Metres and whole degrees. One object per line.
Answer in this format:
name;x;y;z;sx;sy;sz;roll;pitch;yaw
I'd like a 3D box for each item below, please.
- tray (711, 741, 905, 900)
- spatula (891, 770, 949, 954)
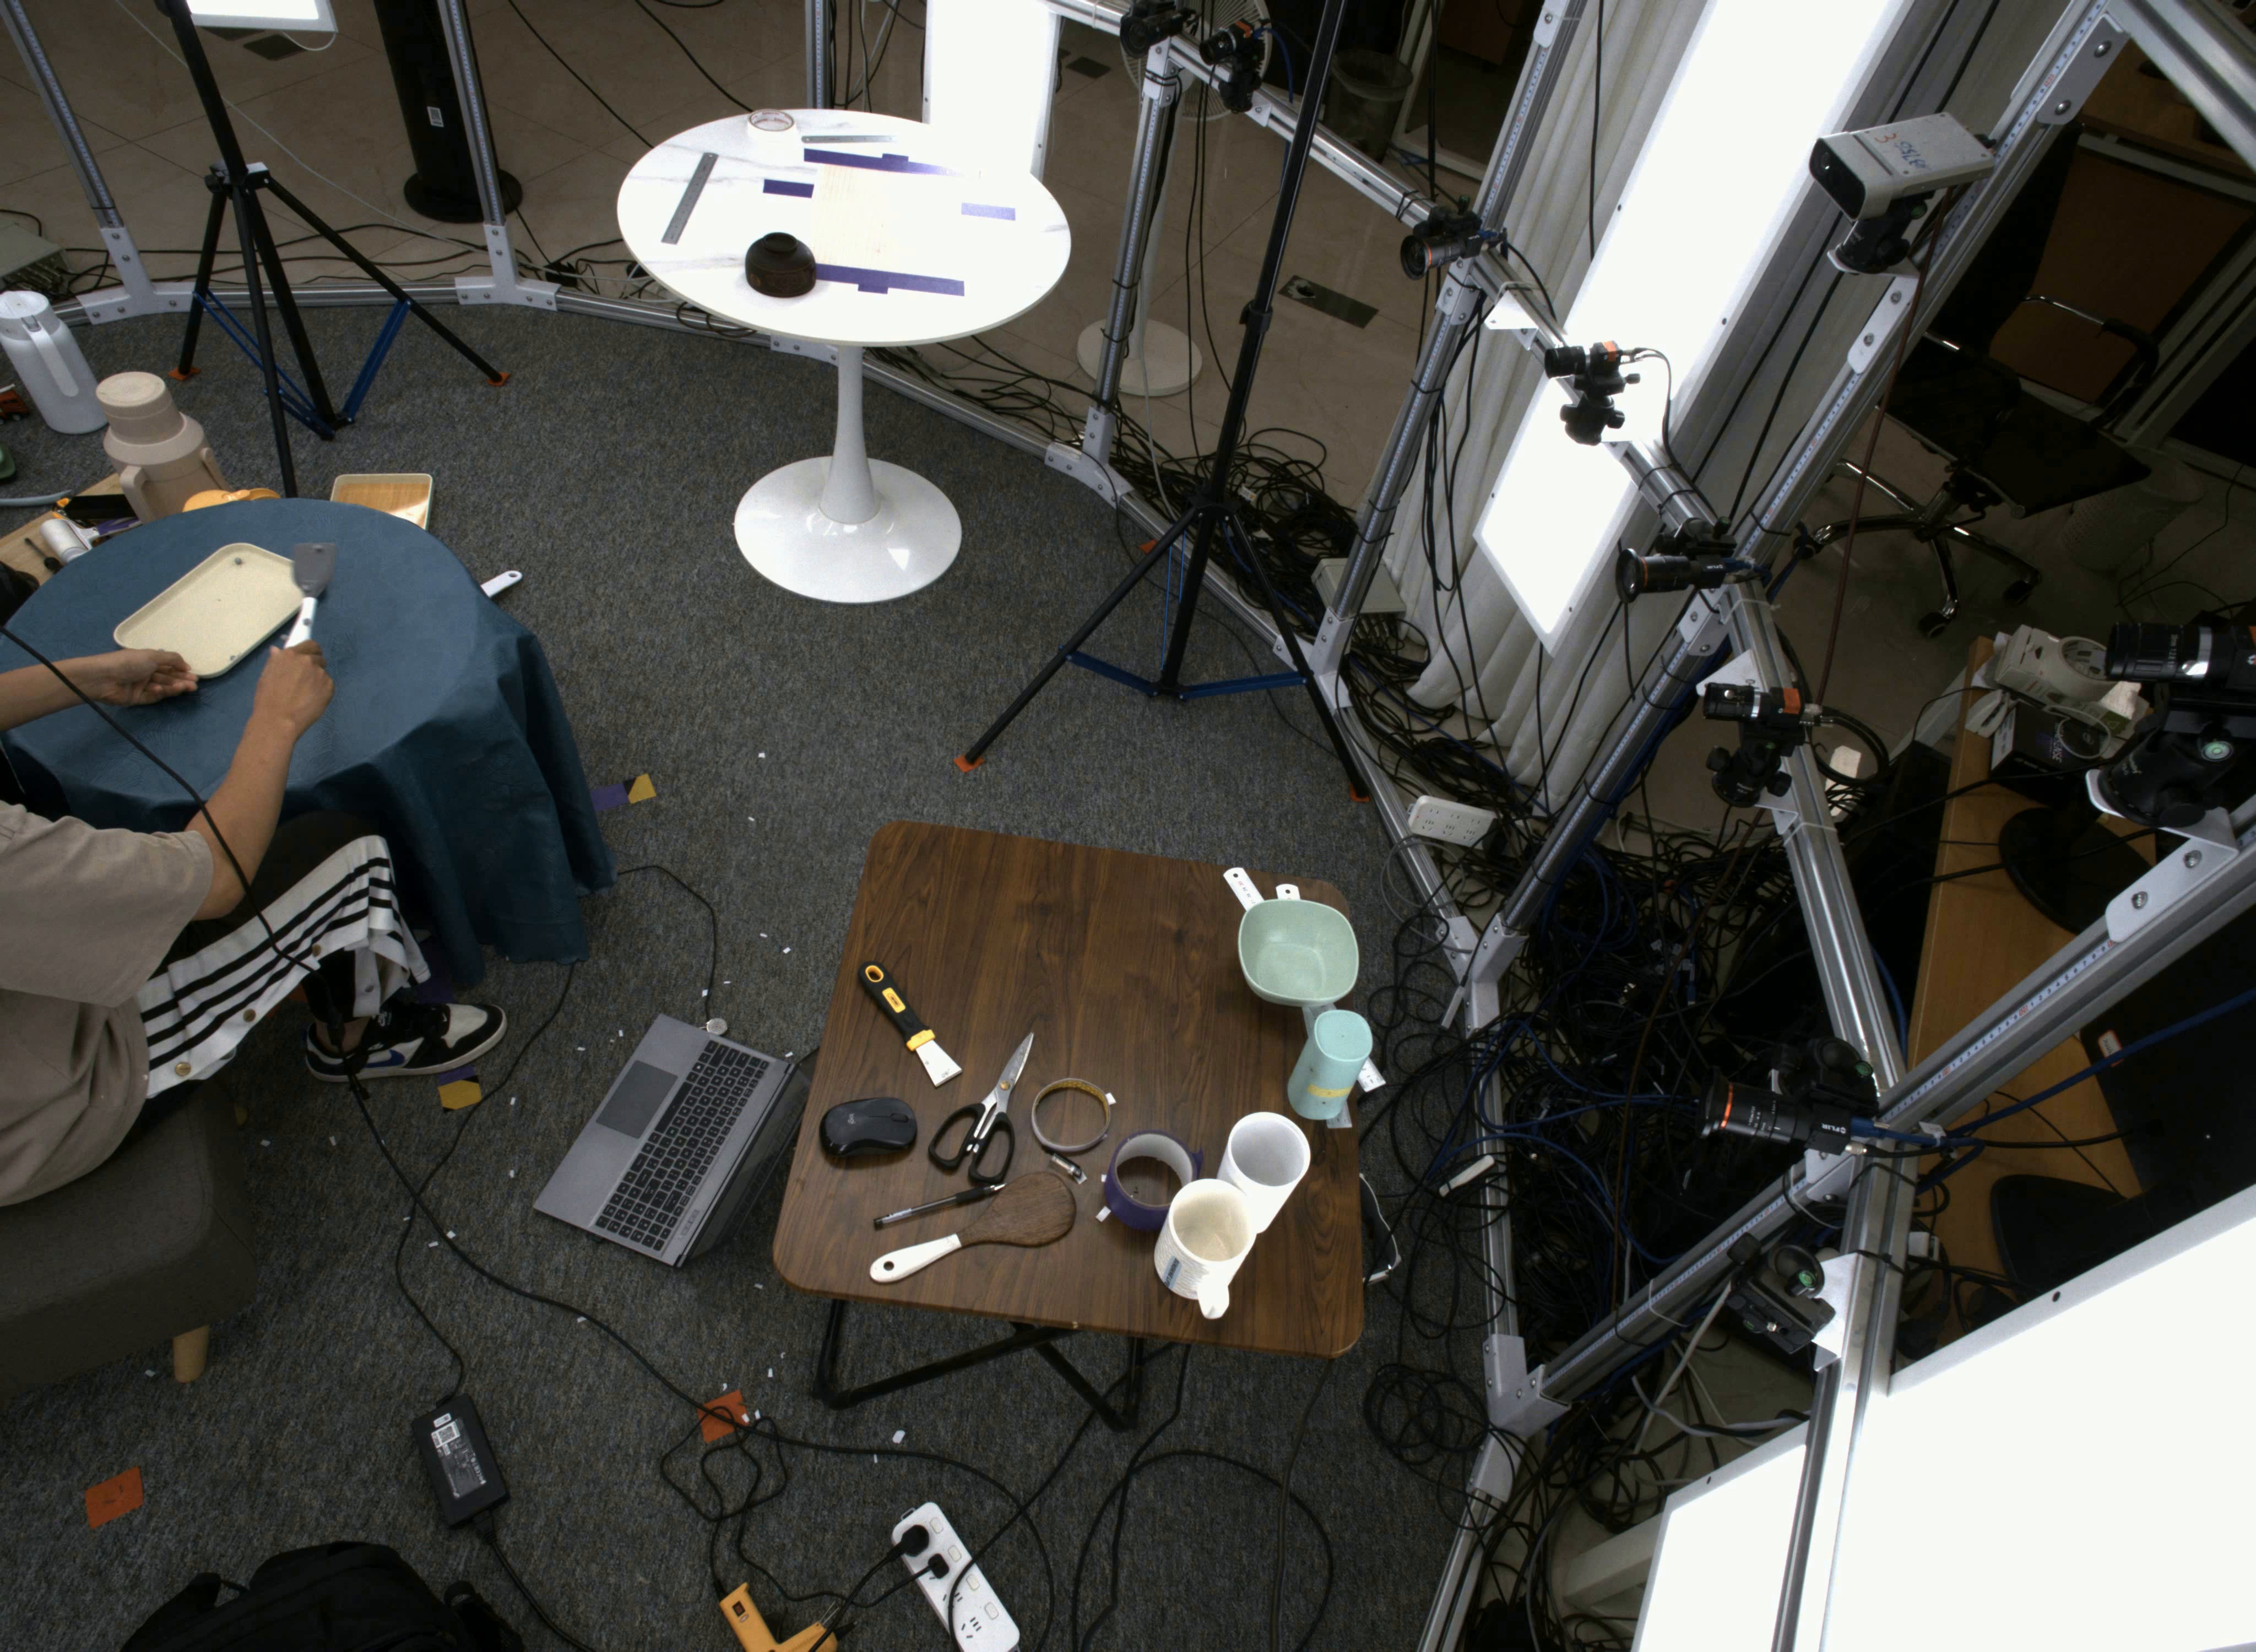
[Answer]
tray;-0.422;-0.011;1.732;0.168;0.018;0.239;33;53;13
spatula;-0.259;0.036;1.593;0.058;0.033;0.281;5;45;-7
